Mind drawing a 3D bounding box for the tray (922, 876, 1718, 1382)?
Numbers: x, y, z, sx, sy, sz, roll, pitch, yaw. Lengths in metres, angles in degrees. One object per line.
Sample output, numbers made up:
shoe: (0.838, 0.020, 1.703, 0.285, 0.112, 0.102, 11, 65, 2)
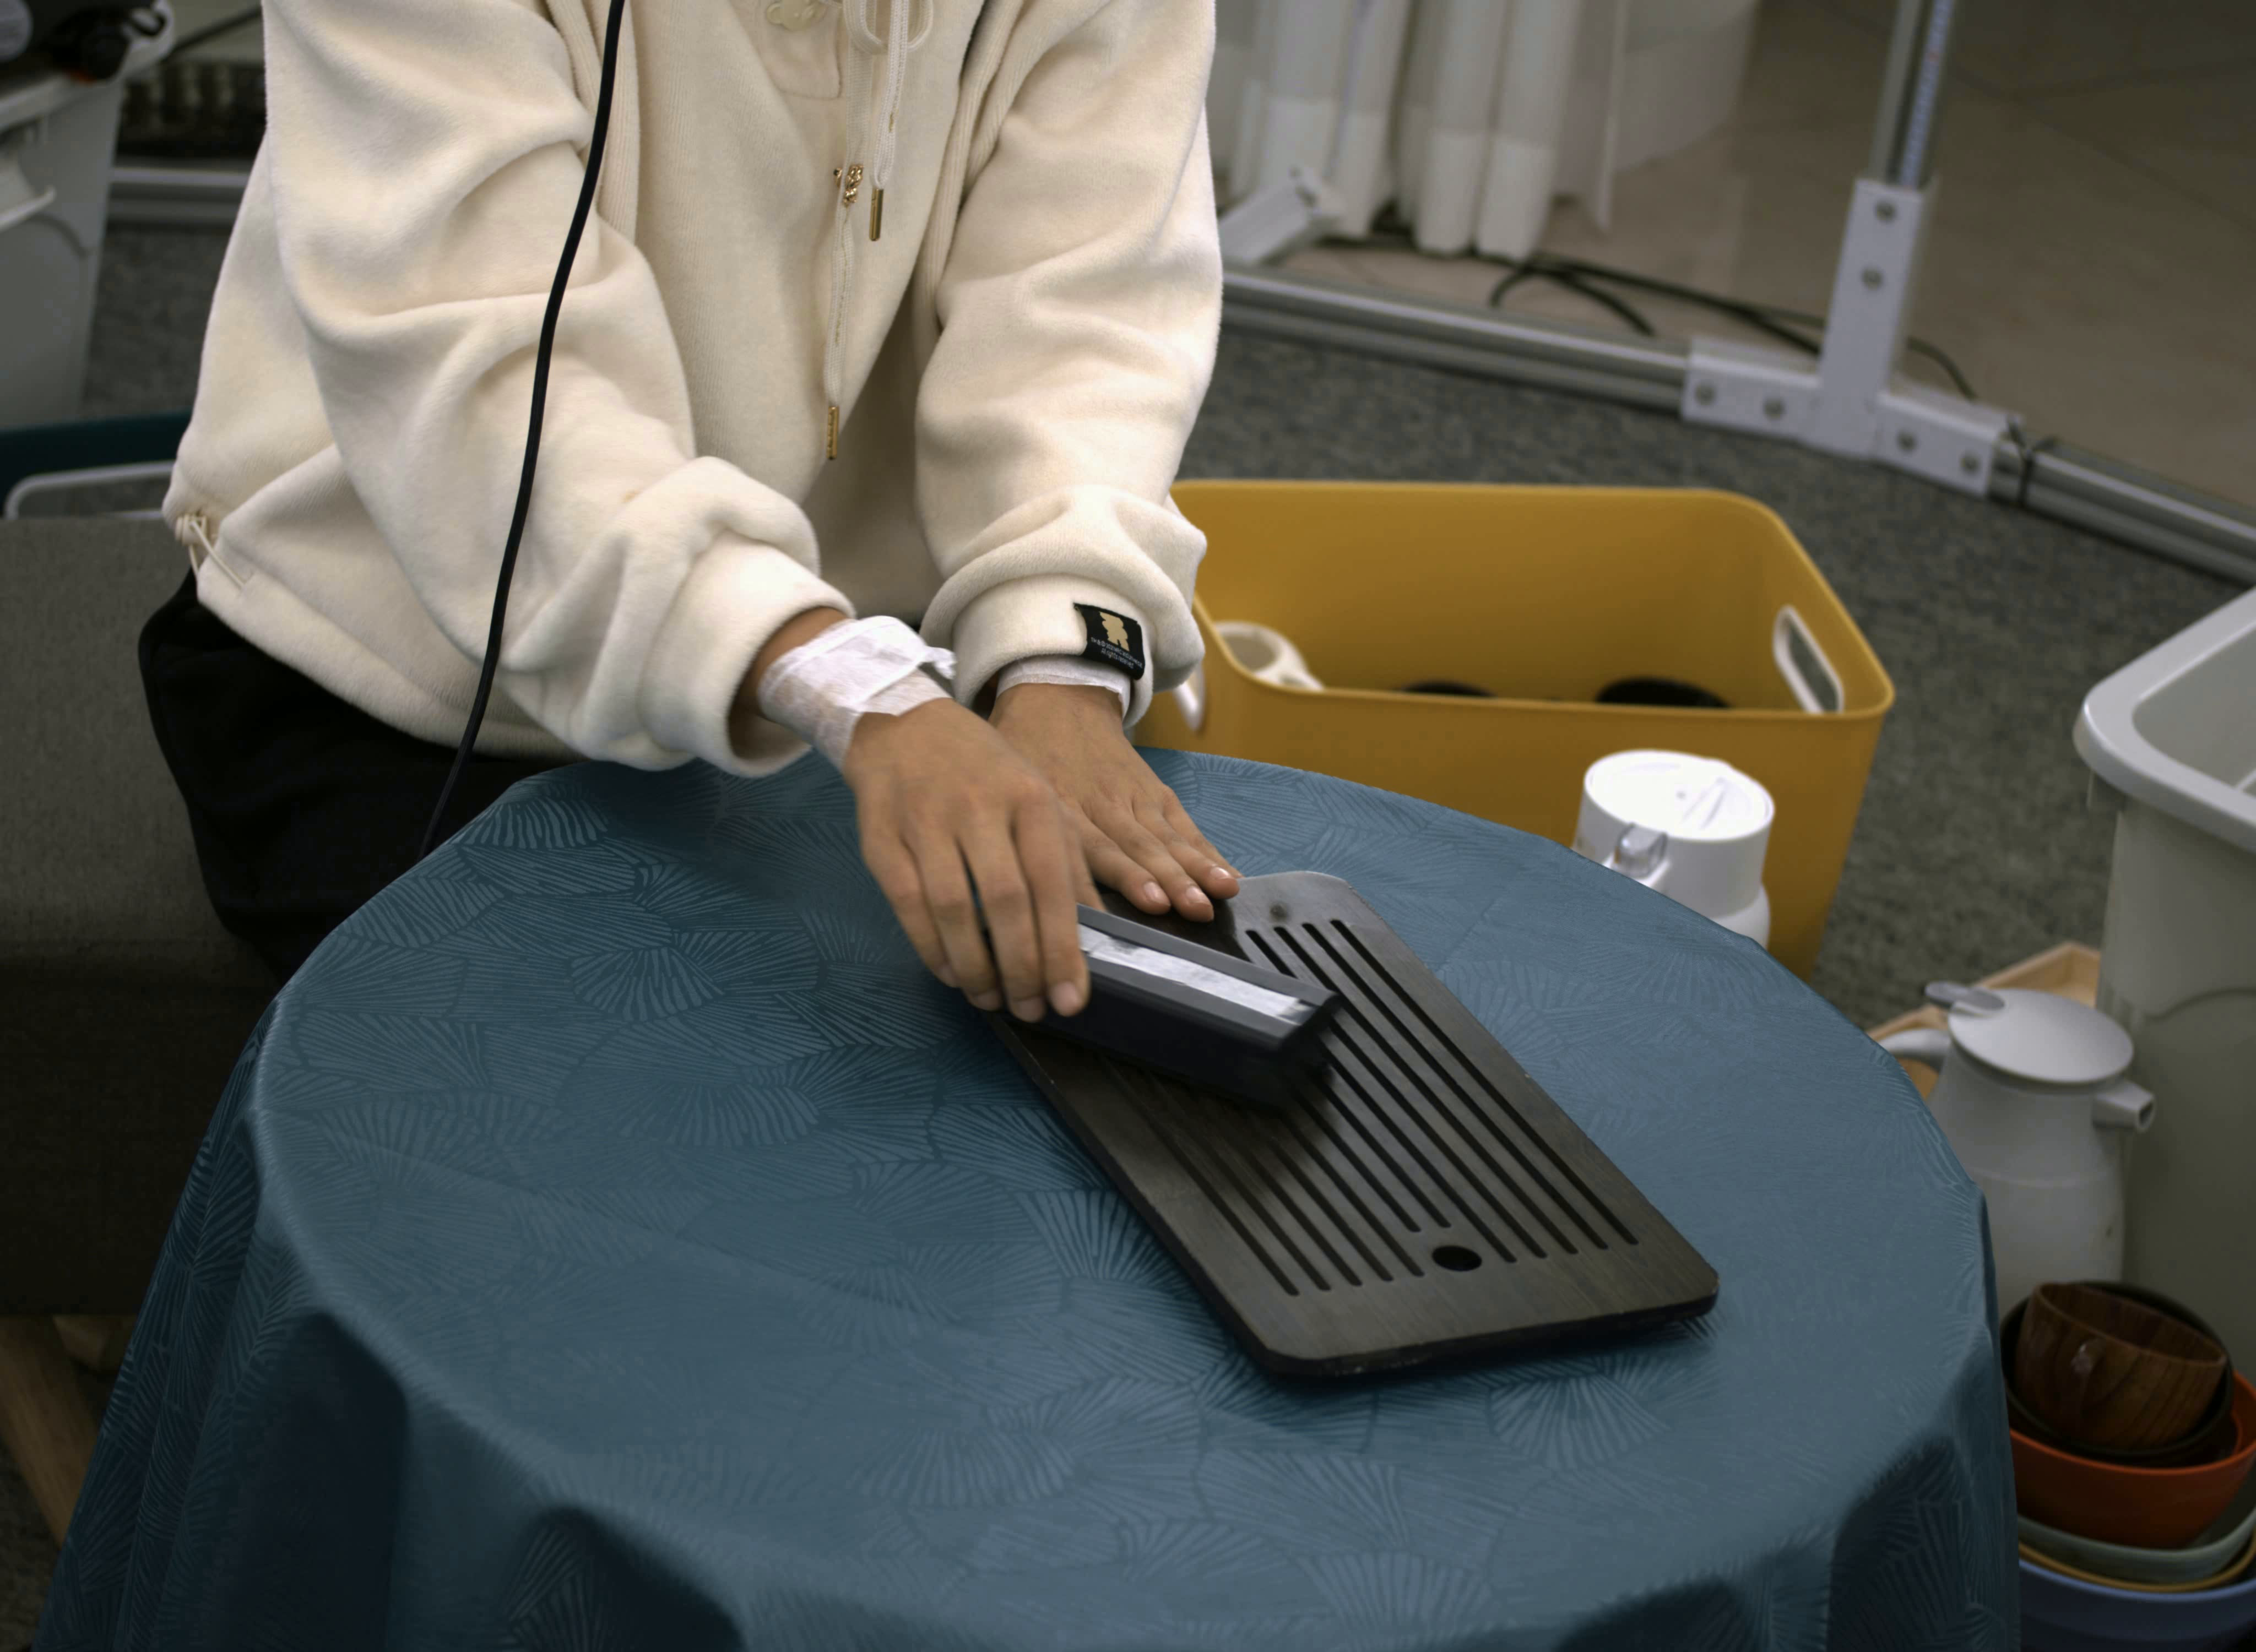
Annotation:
tray: (0.060, 0.101, 1.840, 0.169, 0.018, 0.309, -6, 30, -24)

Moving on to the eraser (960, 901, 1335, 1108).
eraser: (0.007, 0.062, 1.860, 0.126, 0.030, 0.053, 17, 25, 23)
